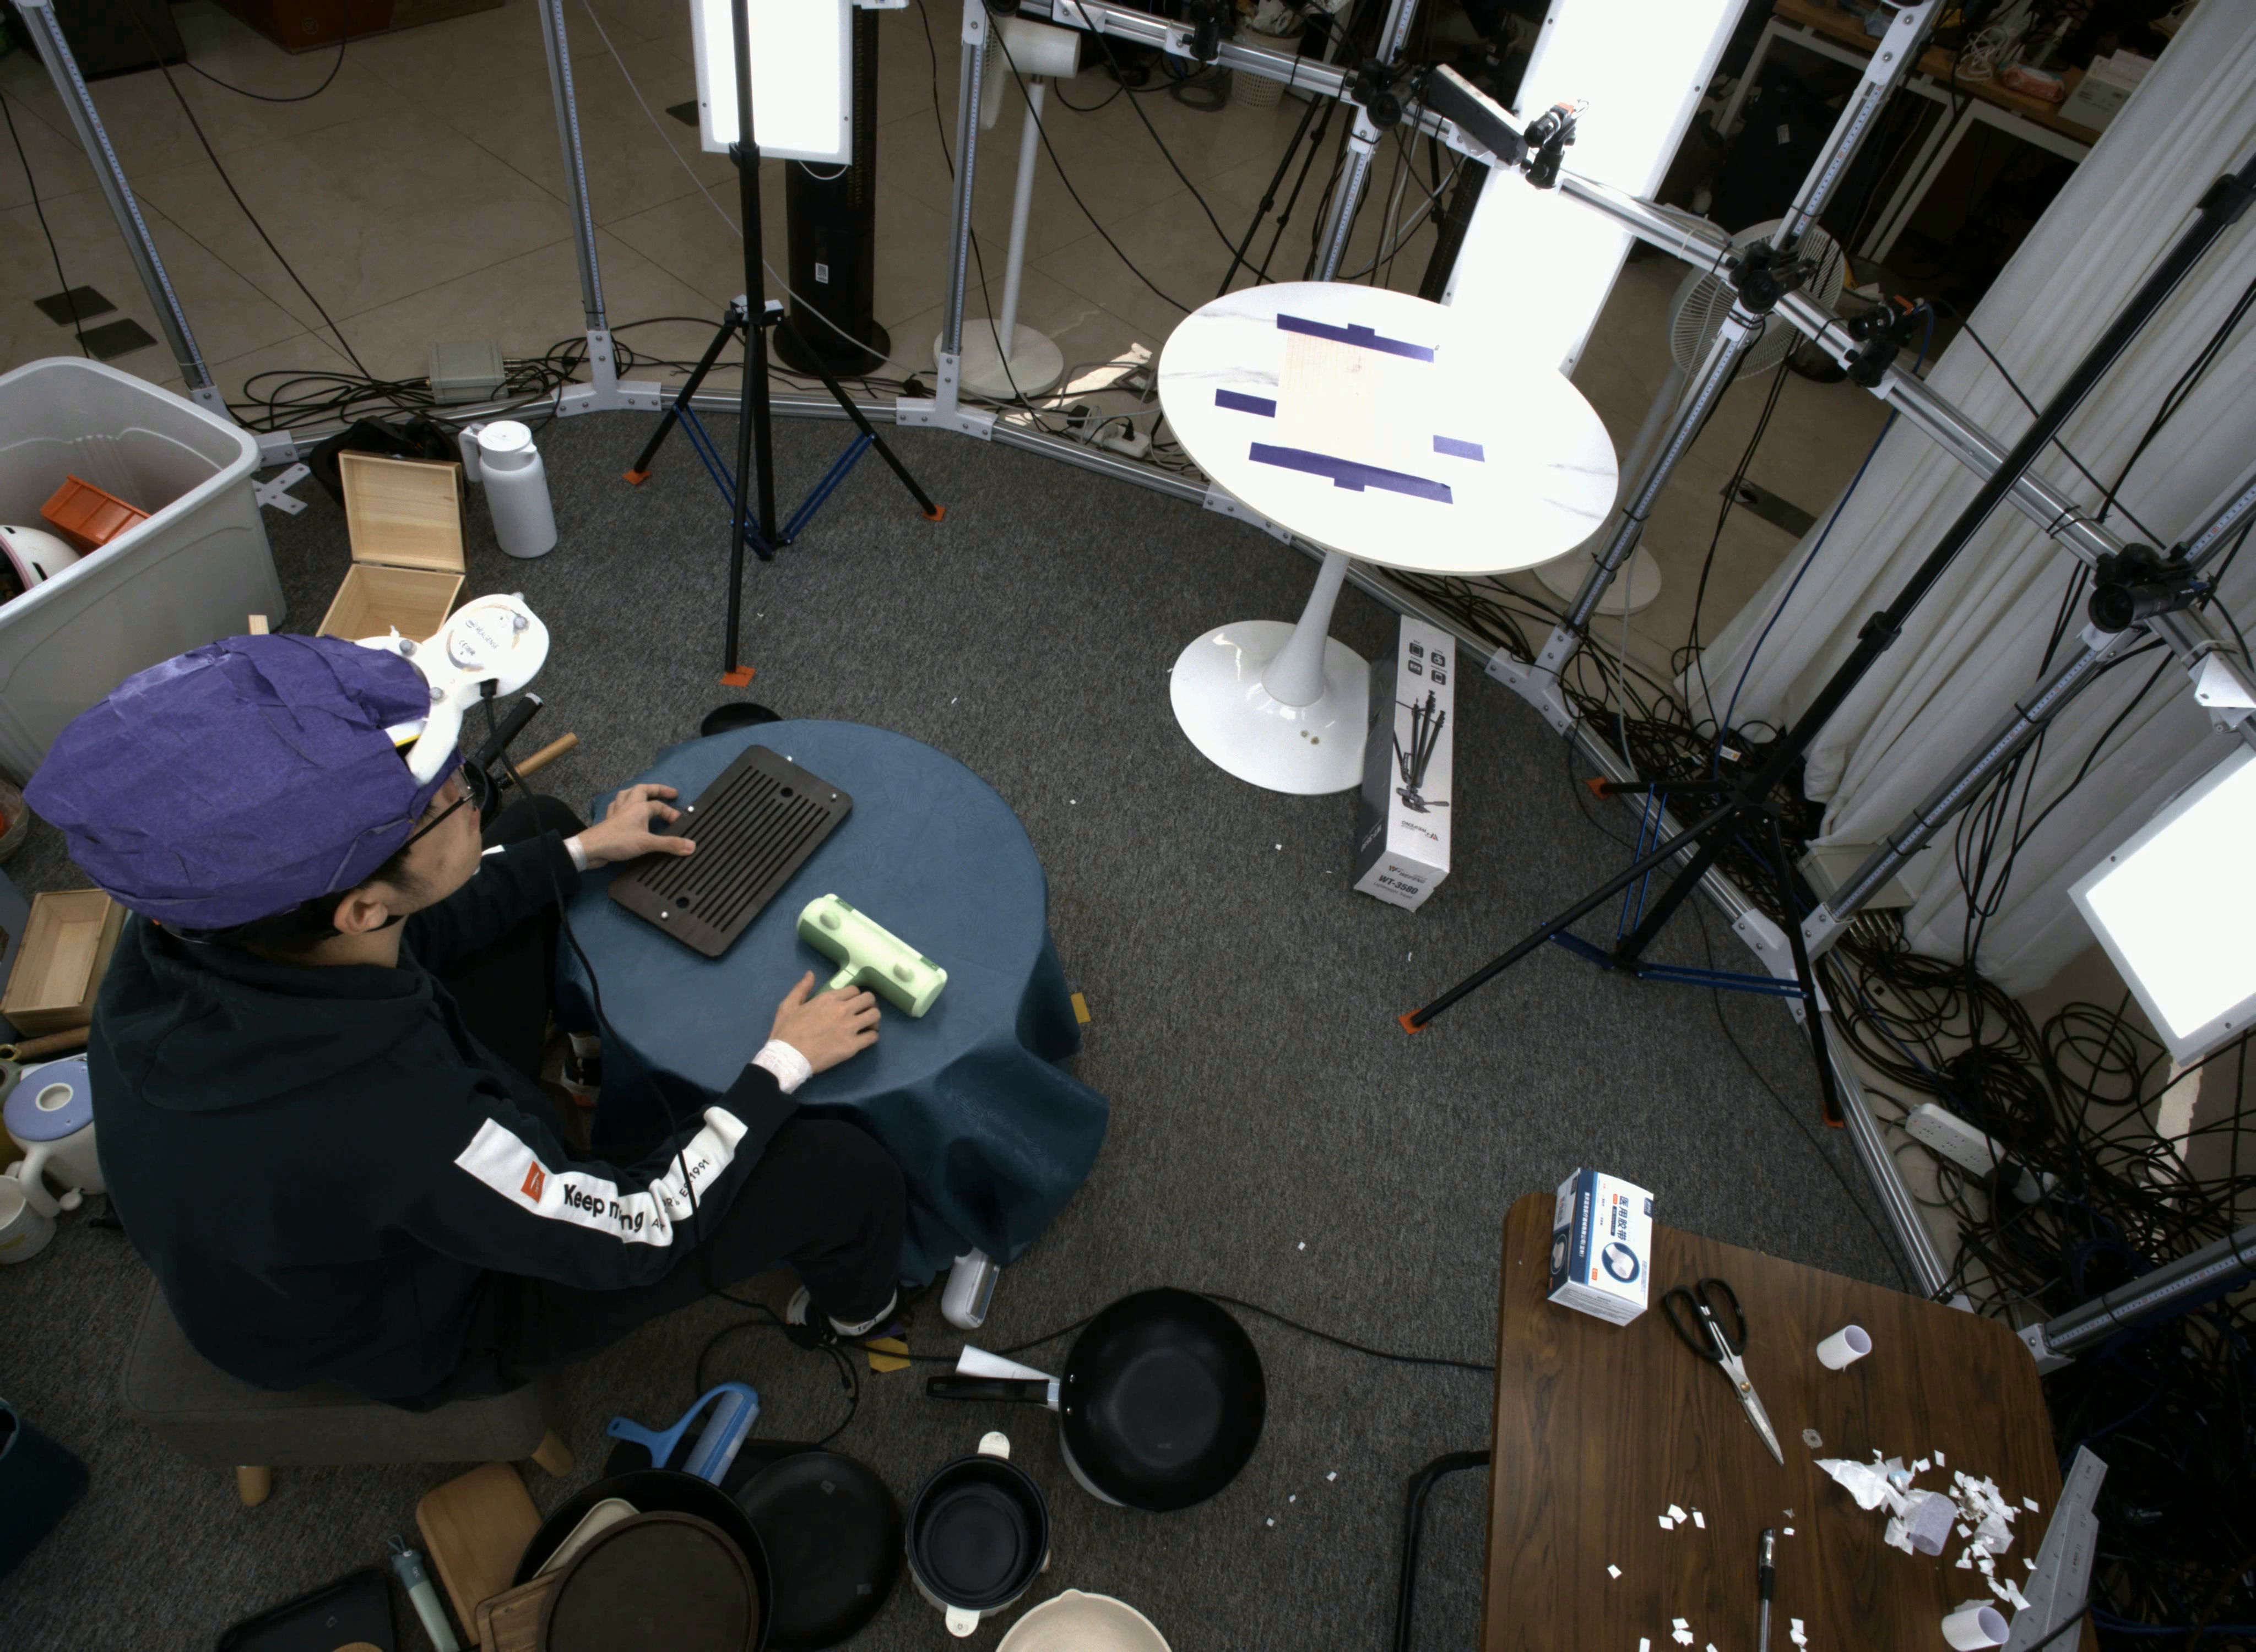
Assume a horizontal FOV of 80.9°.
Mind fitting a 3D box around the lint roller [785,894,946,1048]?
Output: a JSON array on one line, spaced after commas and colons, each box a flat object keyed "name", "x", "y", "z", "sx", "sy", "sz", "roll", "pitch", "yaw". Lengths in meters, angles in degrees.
[{"name": "lint roller", "x": -0.347, "y": 0.185, "z": 1.562, "sx": 0.195, "sy": 0.084, "sz": 0.183, "roll": 33, "pitch": 50, "yaw": 11}]

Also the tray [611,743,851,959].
[{"name": "tray", "x": -0.511, "y": 0.025, "z": 1.674, "sx": 0.168, "sy": 0.019, "sz": 0.304, "roll": 30, "pitch": 53, "yaw": 5}]
